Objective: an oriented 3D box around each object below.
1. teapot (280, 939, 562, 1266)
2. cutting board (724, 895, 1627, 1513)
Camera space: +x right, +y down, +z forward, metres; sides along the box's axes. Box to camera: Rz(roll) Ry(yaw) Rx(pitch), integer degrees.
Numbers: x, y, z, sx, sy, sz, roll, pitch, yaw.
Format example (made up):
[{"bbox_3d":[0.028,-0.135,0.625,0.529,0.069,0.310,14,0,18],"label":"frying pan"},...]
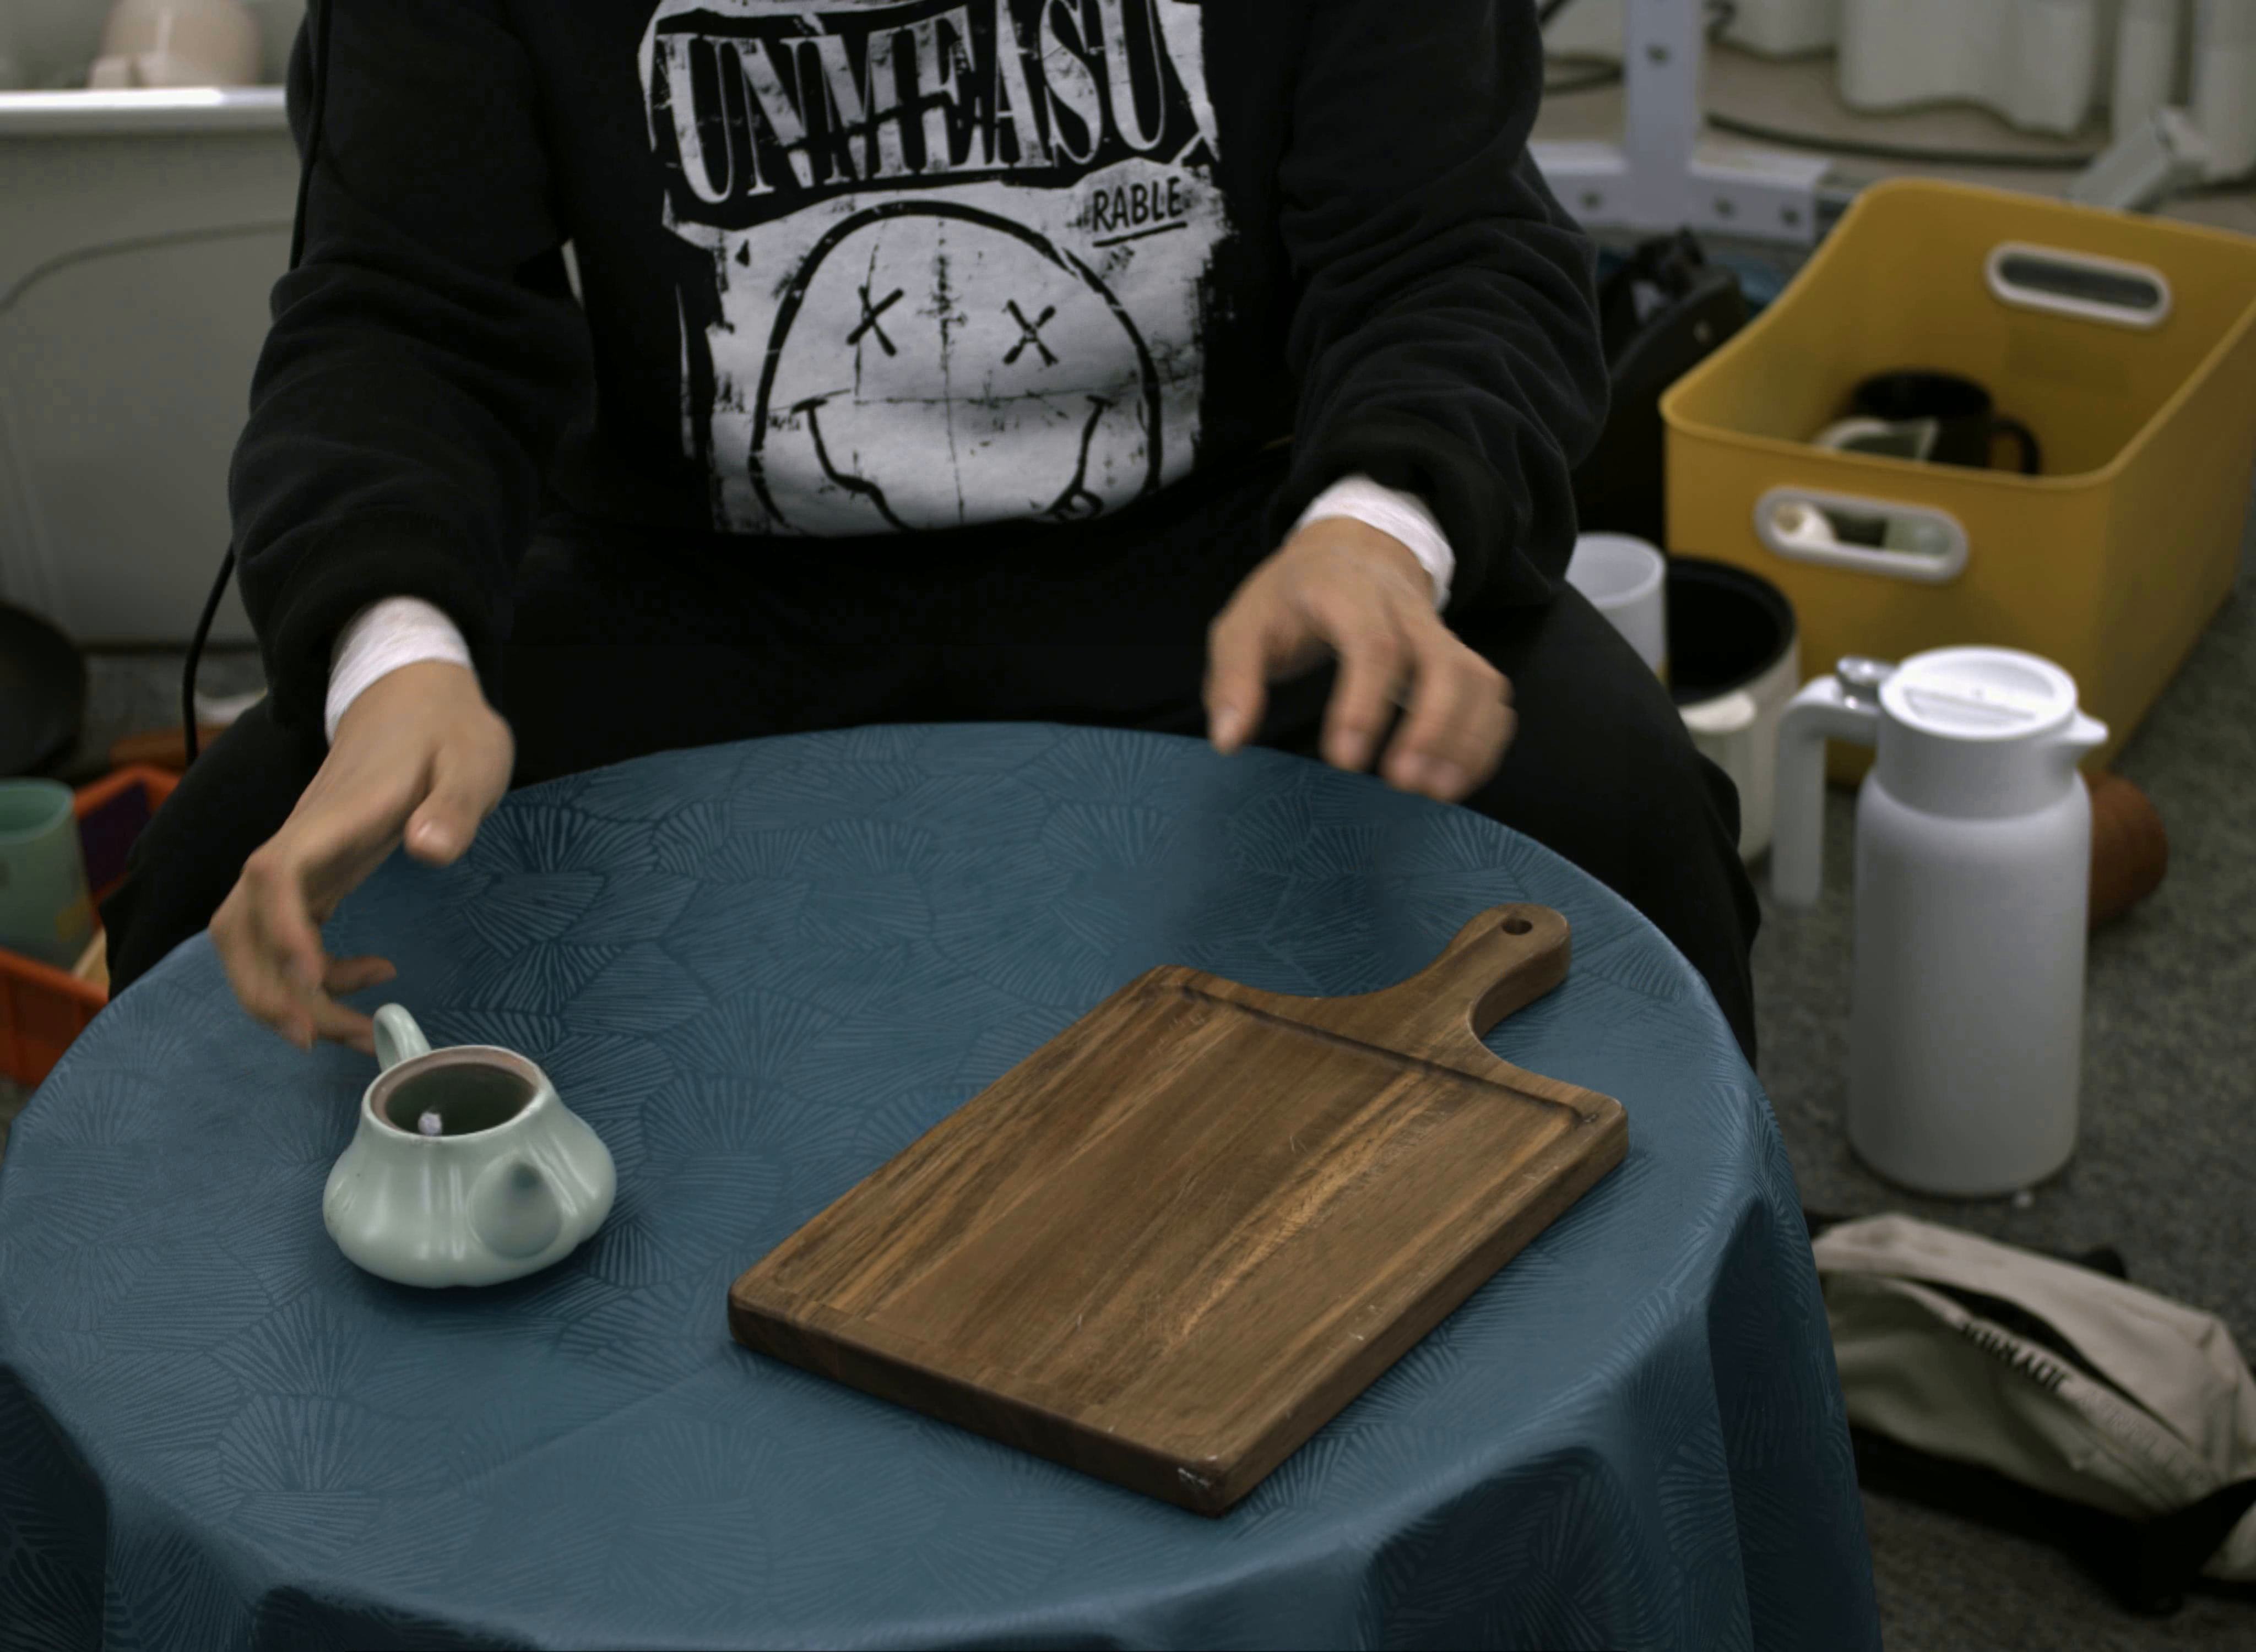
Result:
[{"bbox_3d":[-0.227,0.096,1.831,0.096,0.060,0.138,9,32,-39],"label":"teapot"},{"bbox_3d":[0.046,0.107,1.859,0.200,0.023,0.357,15,33,30],"label":"cutting board"}]
